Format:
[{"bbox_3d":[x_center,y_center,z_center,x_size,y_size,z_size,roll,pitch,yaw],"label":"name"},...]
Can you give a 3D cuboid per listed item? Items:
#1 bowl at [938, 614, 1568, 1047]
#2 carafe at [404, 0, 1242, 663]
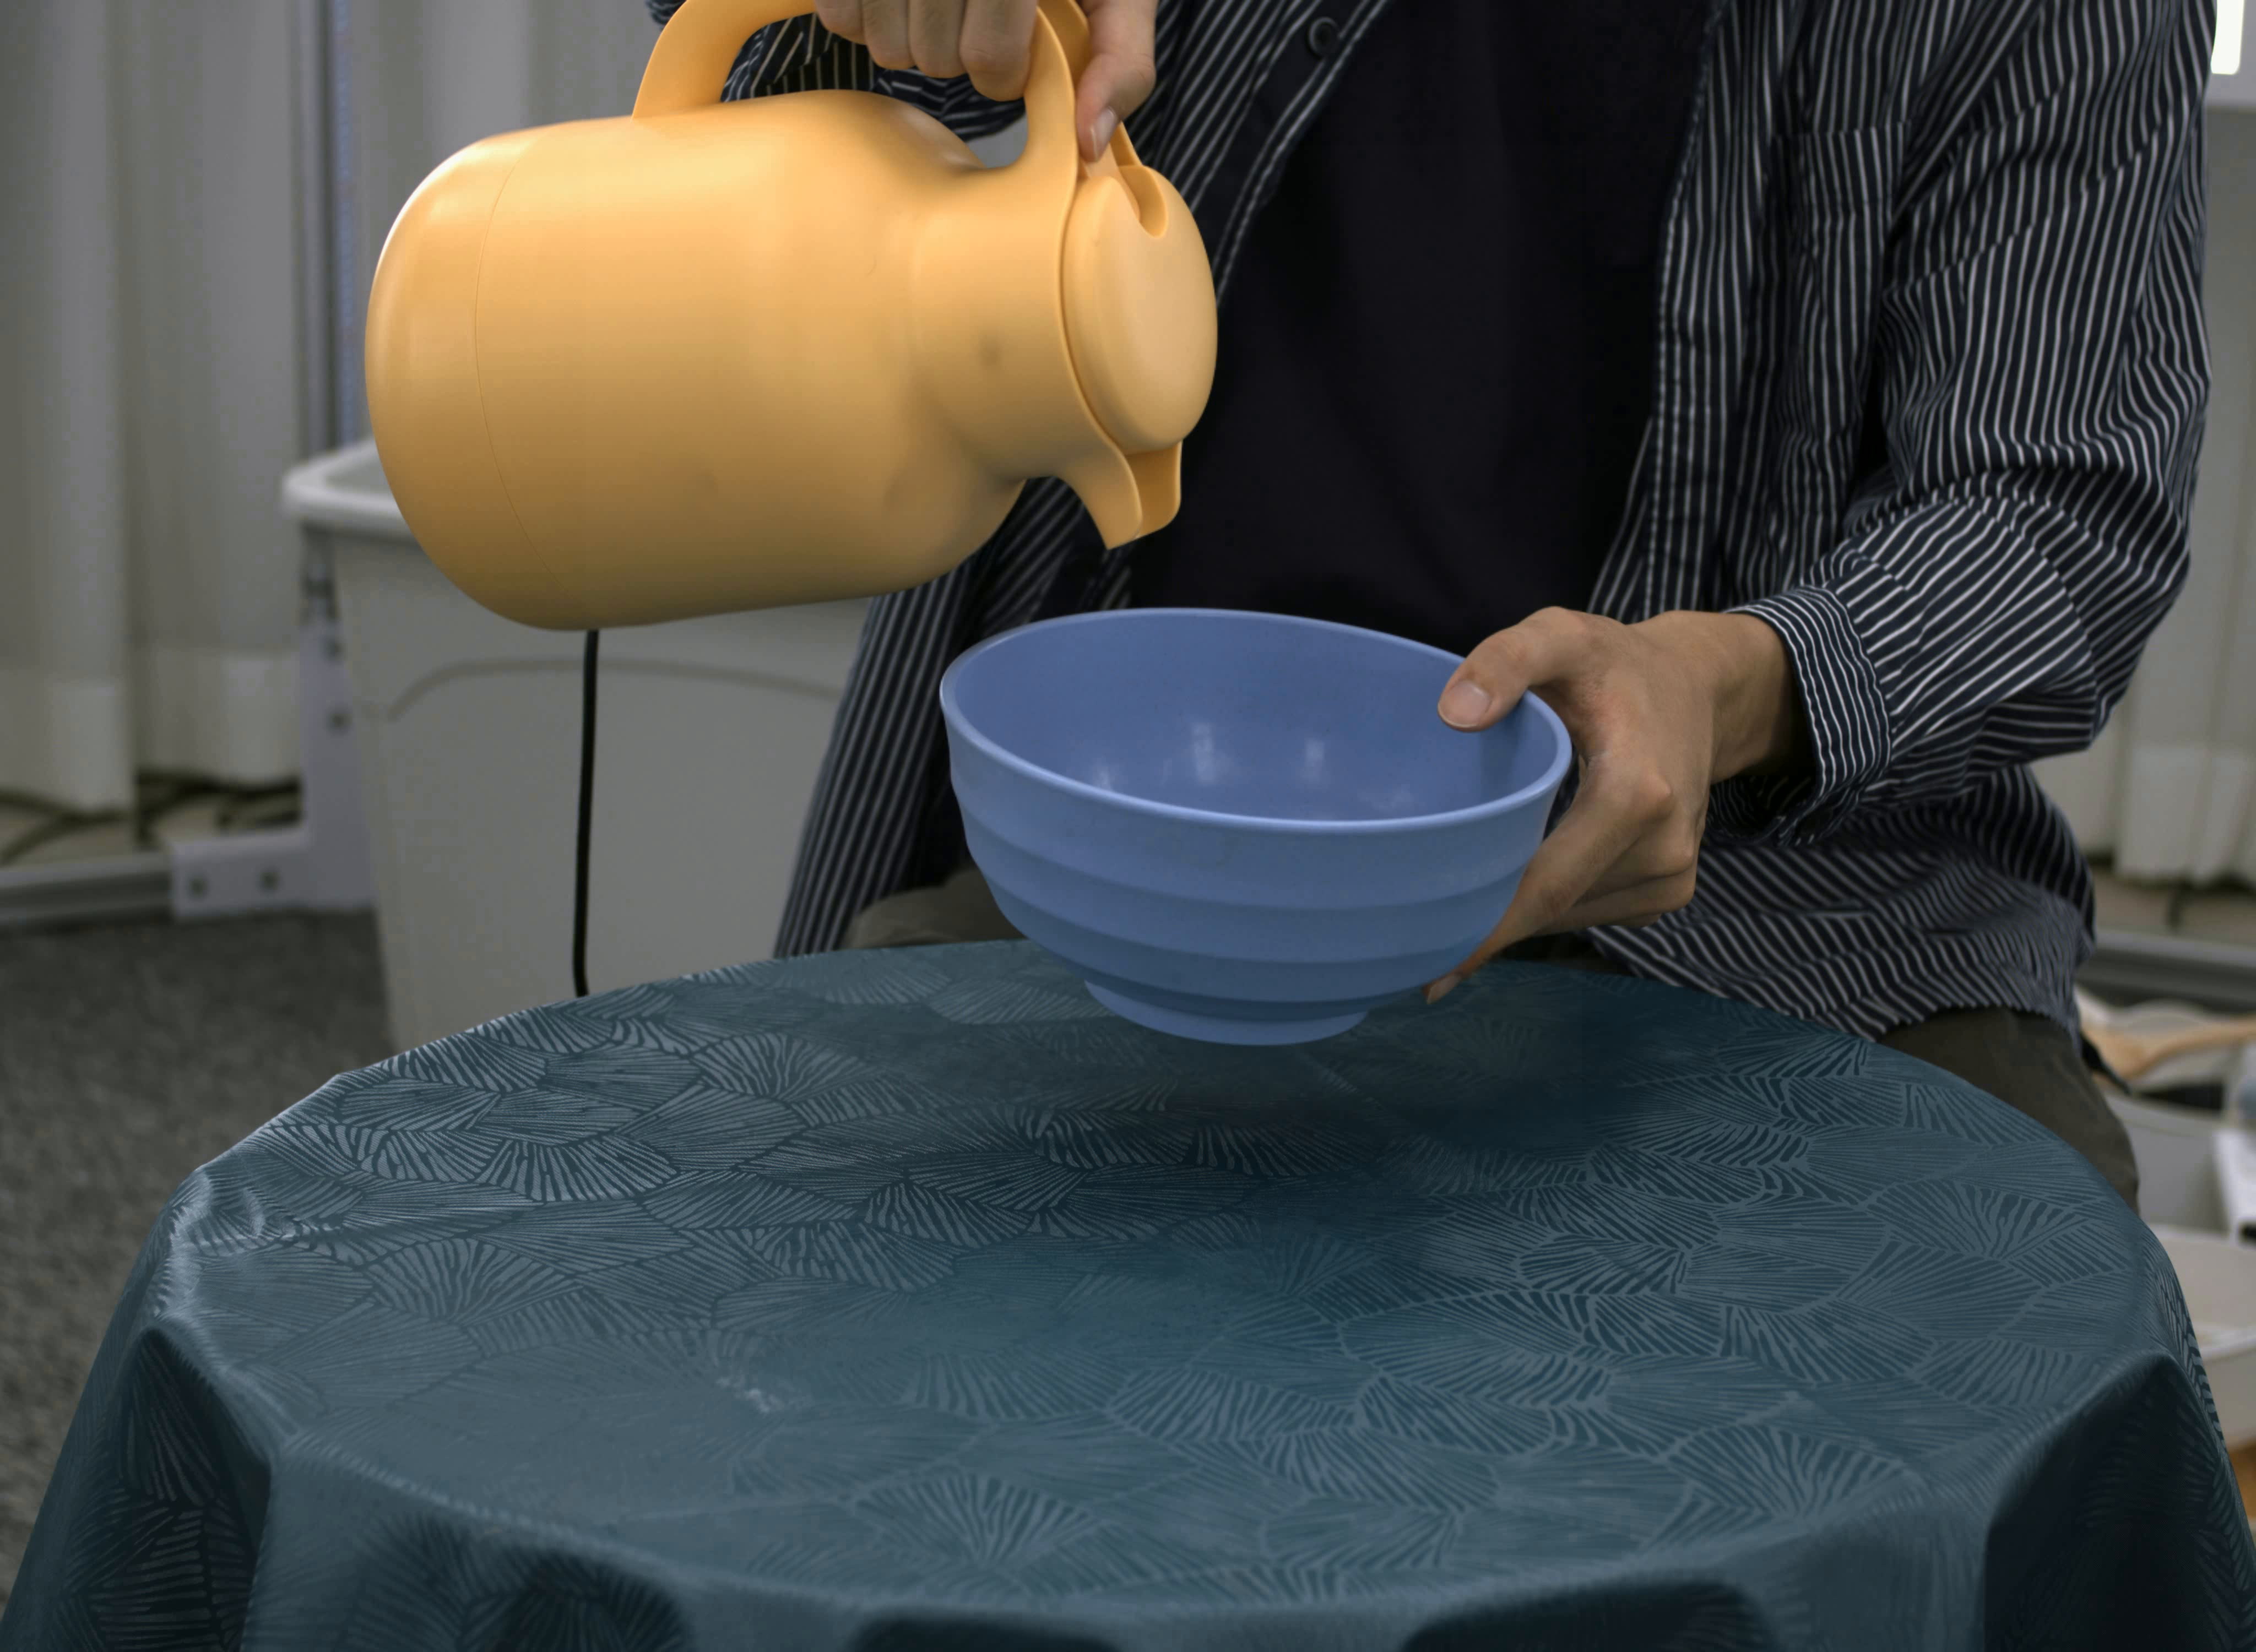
[{"bbox_3d":[0.035,0.008,1.647,0.196,0.096,0.195,5,21,-1],"label":"bowl"},{"bbox_3d":[-0.095,-0.161,1.674,0.258,0.204,0.164,-5,11,28],"label":"carafe"}]
